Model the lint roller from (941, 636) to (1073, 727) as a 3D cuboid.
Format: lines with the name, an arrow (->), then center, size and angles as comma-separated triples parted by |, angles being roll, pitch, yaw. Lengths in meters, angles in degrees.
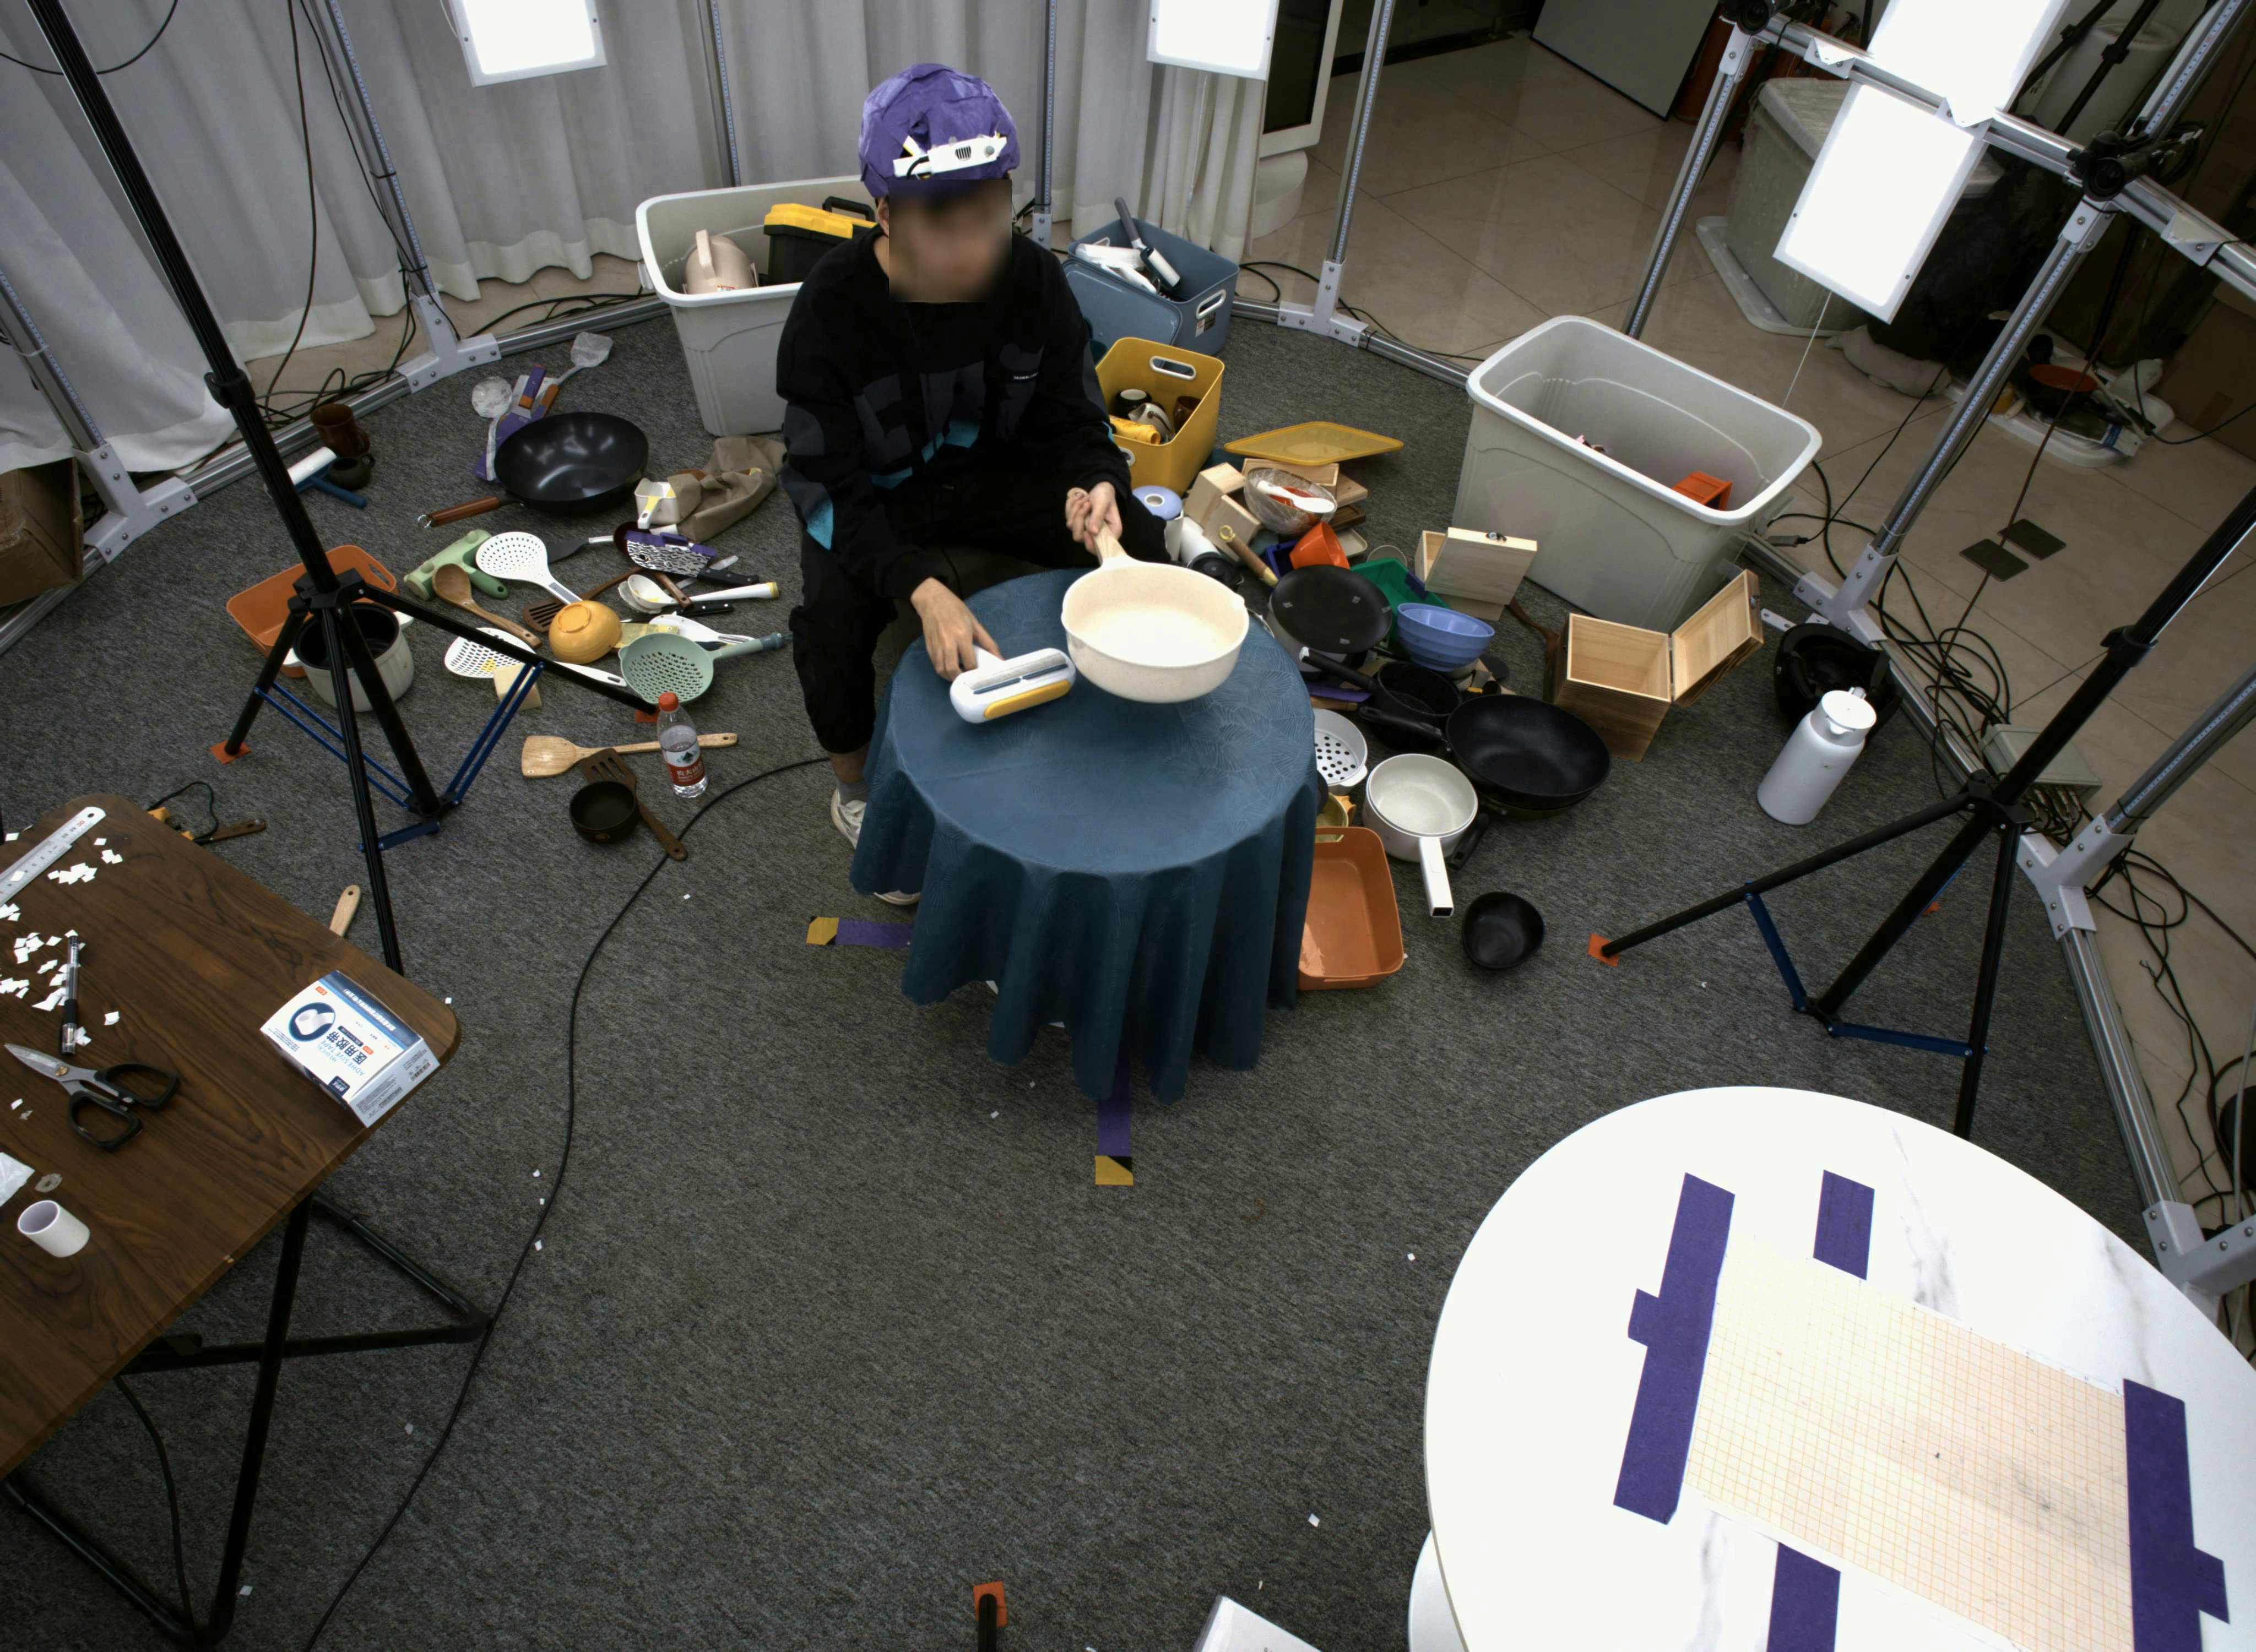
lint roller -> -0.198, -0.223, 1.806 | 0.193, 0.072, 0.196 | -22, 51, -29

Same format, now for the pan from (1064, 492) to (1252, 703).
pan -> 0.003, -0.324, 1.809 | 0.263, 0.099, 0.445 | -14, 45, -18
